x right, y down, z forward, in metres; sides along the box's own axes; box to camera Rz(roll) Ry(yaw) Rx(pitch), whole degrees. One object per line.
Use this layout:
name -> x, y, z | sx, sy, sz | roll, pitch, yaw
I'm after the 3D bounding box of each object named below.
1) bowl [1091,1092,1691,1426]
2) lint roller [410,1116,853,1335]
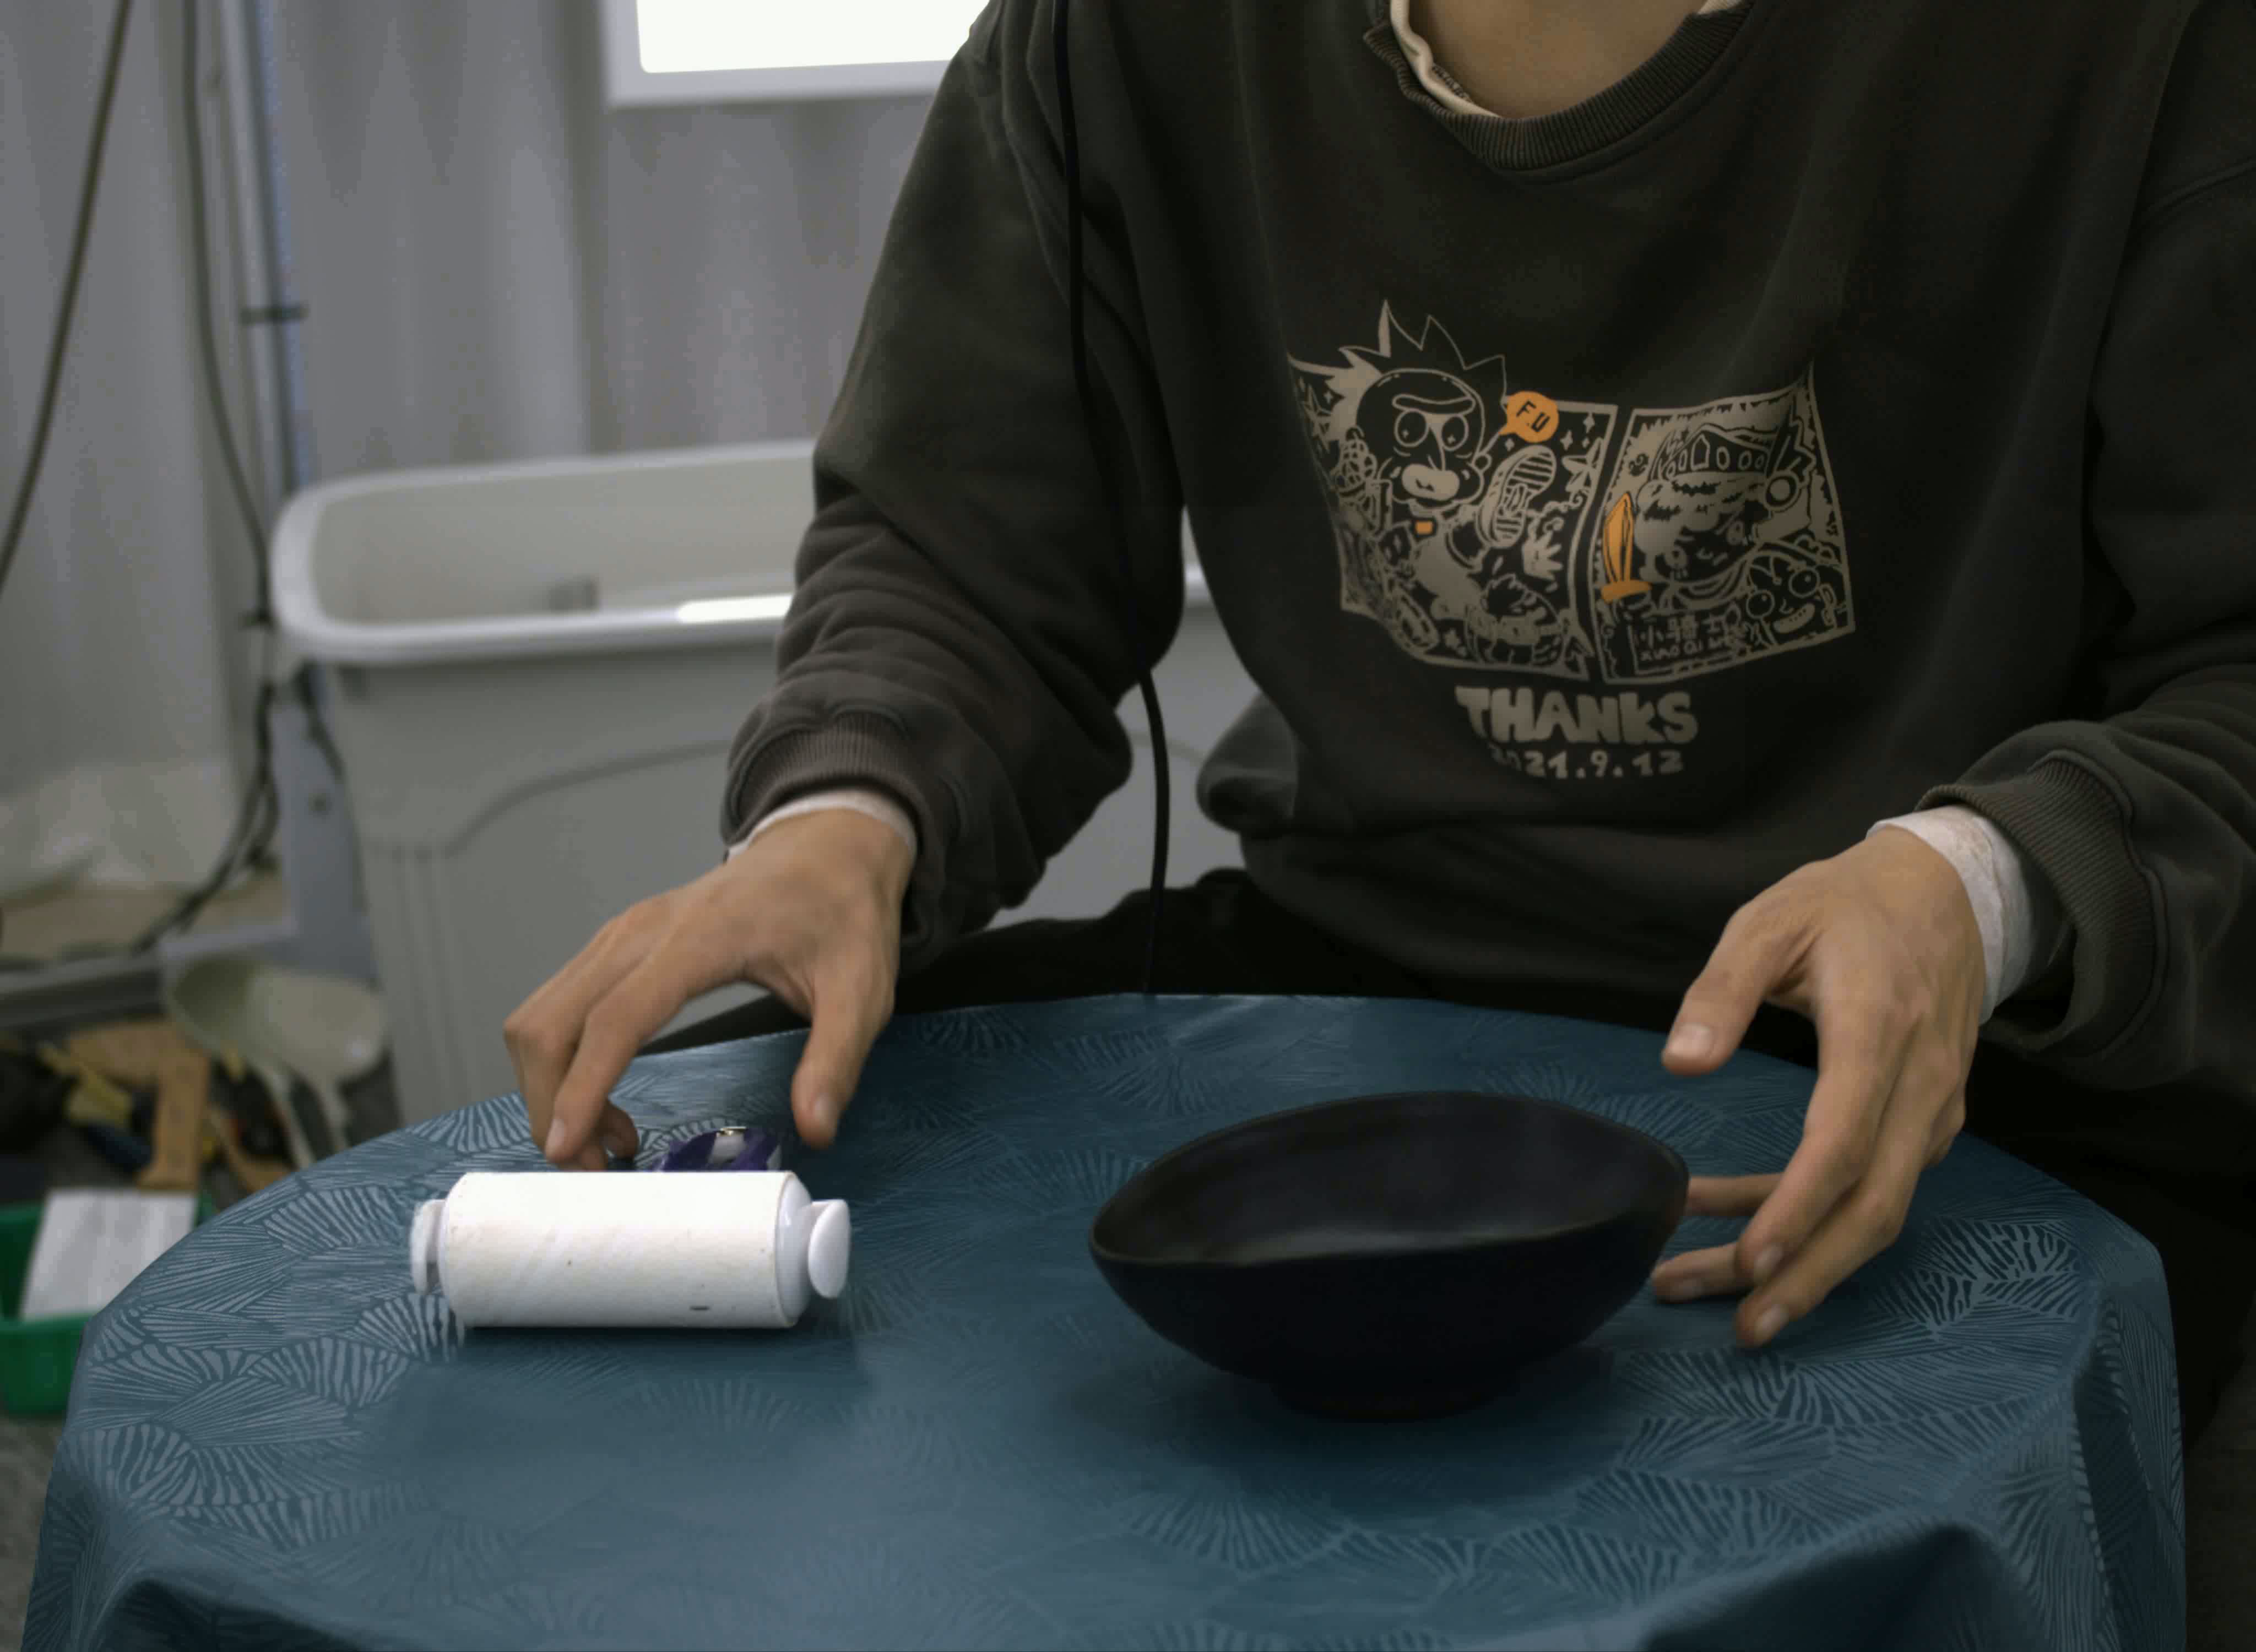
bowl -> 0.076, 0.128, 1.539 | 0.169, 0.066, 0.138 | -6, 14, -5
lint roller -> -0.136, 0.108, 1.684 | 0.133, 0.050, 0.182 | 0, 18, 11
